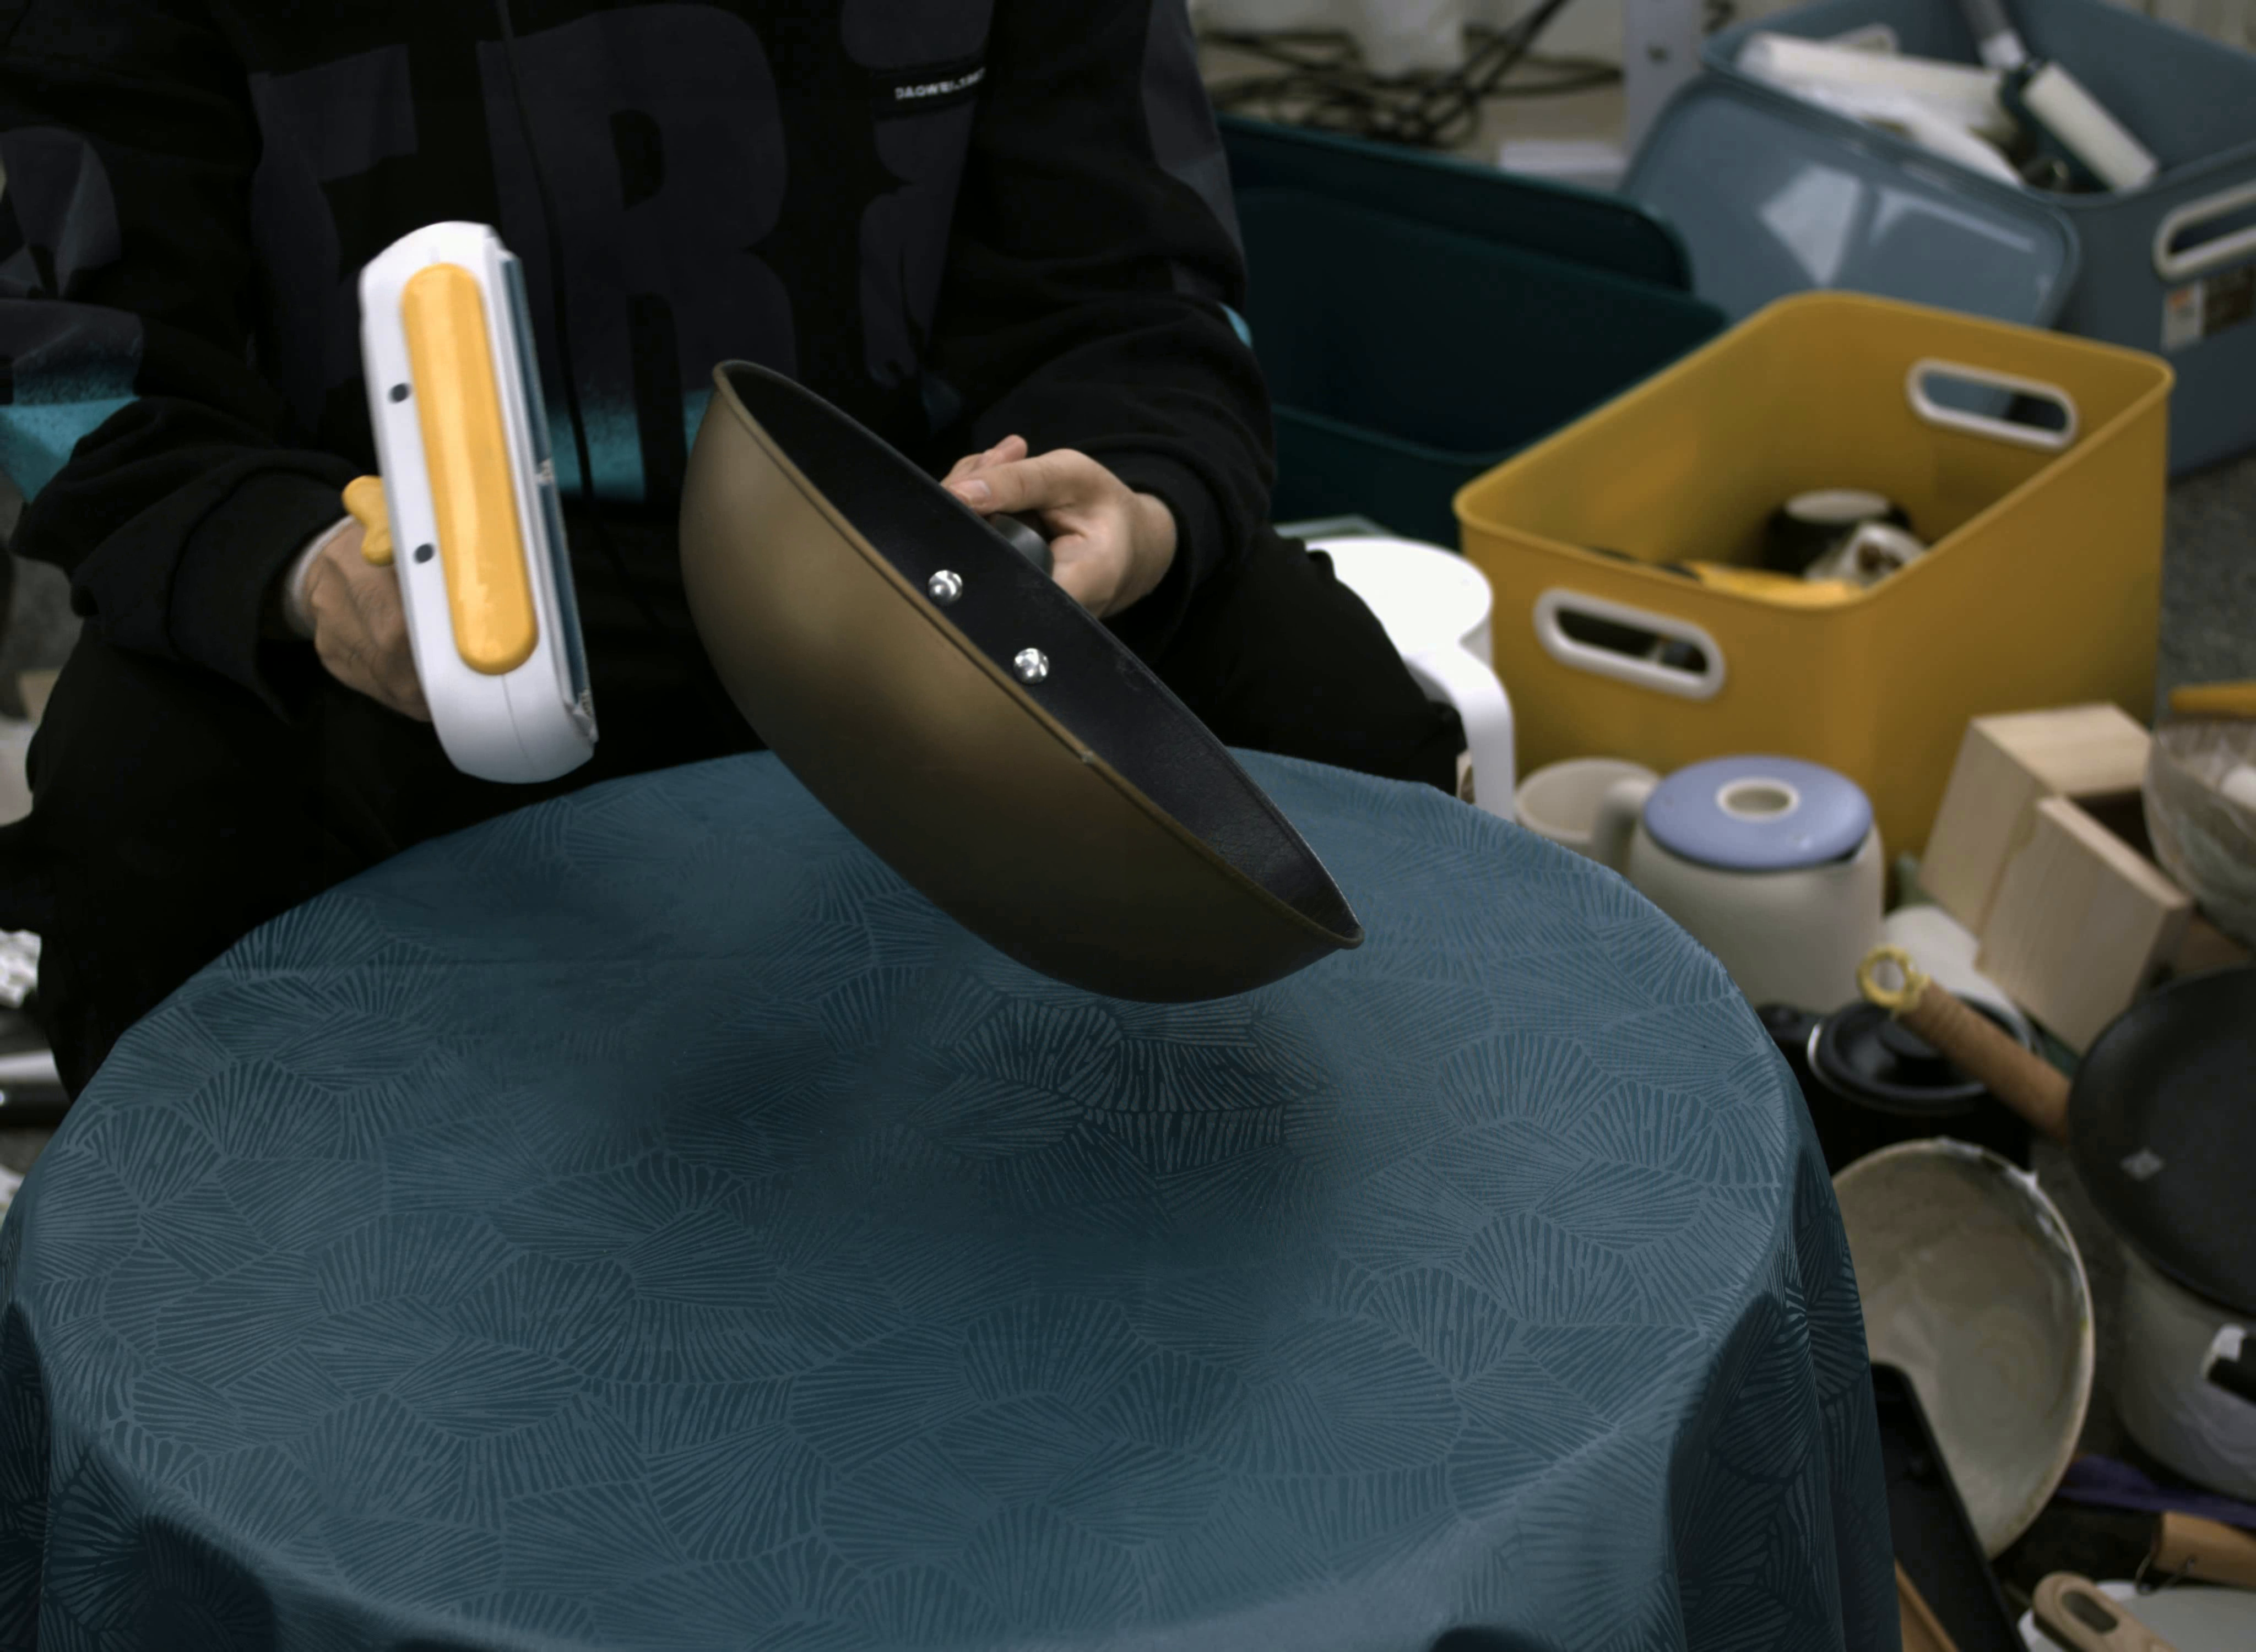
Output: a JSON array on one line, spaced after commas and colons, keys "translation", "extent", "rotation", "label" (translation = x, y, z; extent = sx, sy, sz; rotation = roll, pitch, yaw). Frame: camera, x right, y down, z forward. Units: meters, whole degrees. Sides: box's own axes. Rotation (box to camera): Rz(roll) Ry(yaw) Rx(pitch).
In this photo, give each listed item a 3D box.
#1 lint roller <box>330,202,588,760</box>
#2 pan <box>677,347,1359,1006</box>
[{"translation": [-0.225, -0.089, 1.912], "extent": [0.074, 0.190, 0.195], "rotation": [-15, 67, -7], "label": "lint roller"}, {"translation": [-0.056, -0.053, 1.941], "extent": [0.086, 0.287, 0.466], "rotation": [-47, 11, 7], "label": "pan"}]
